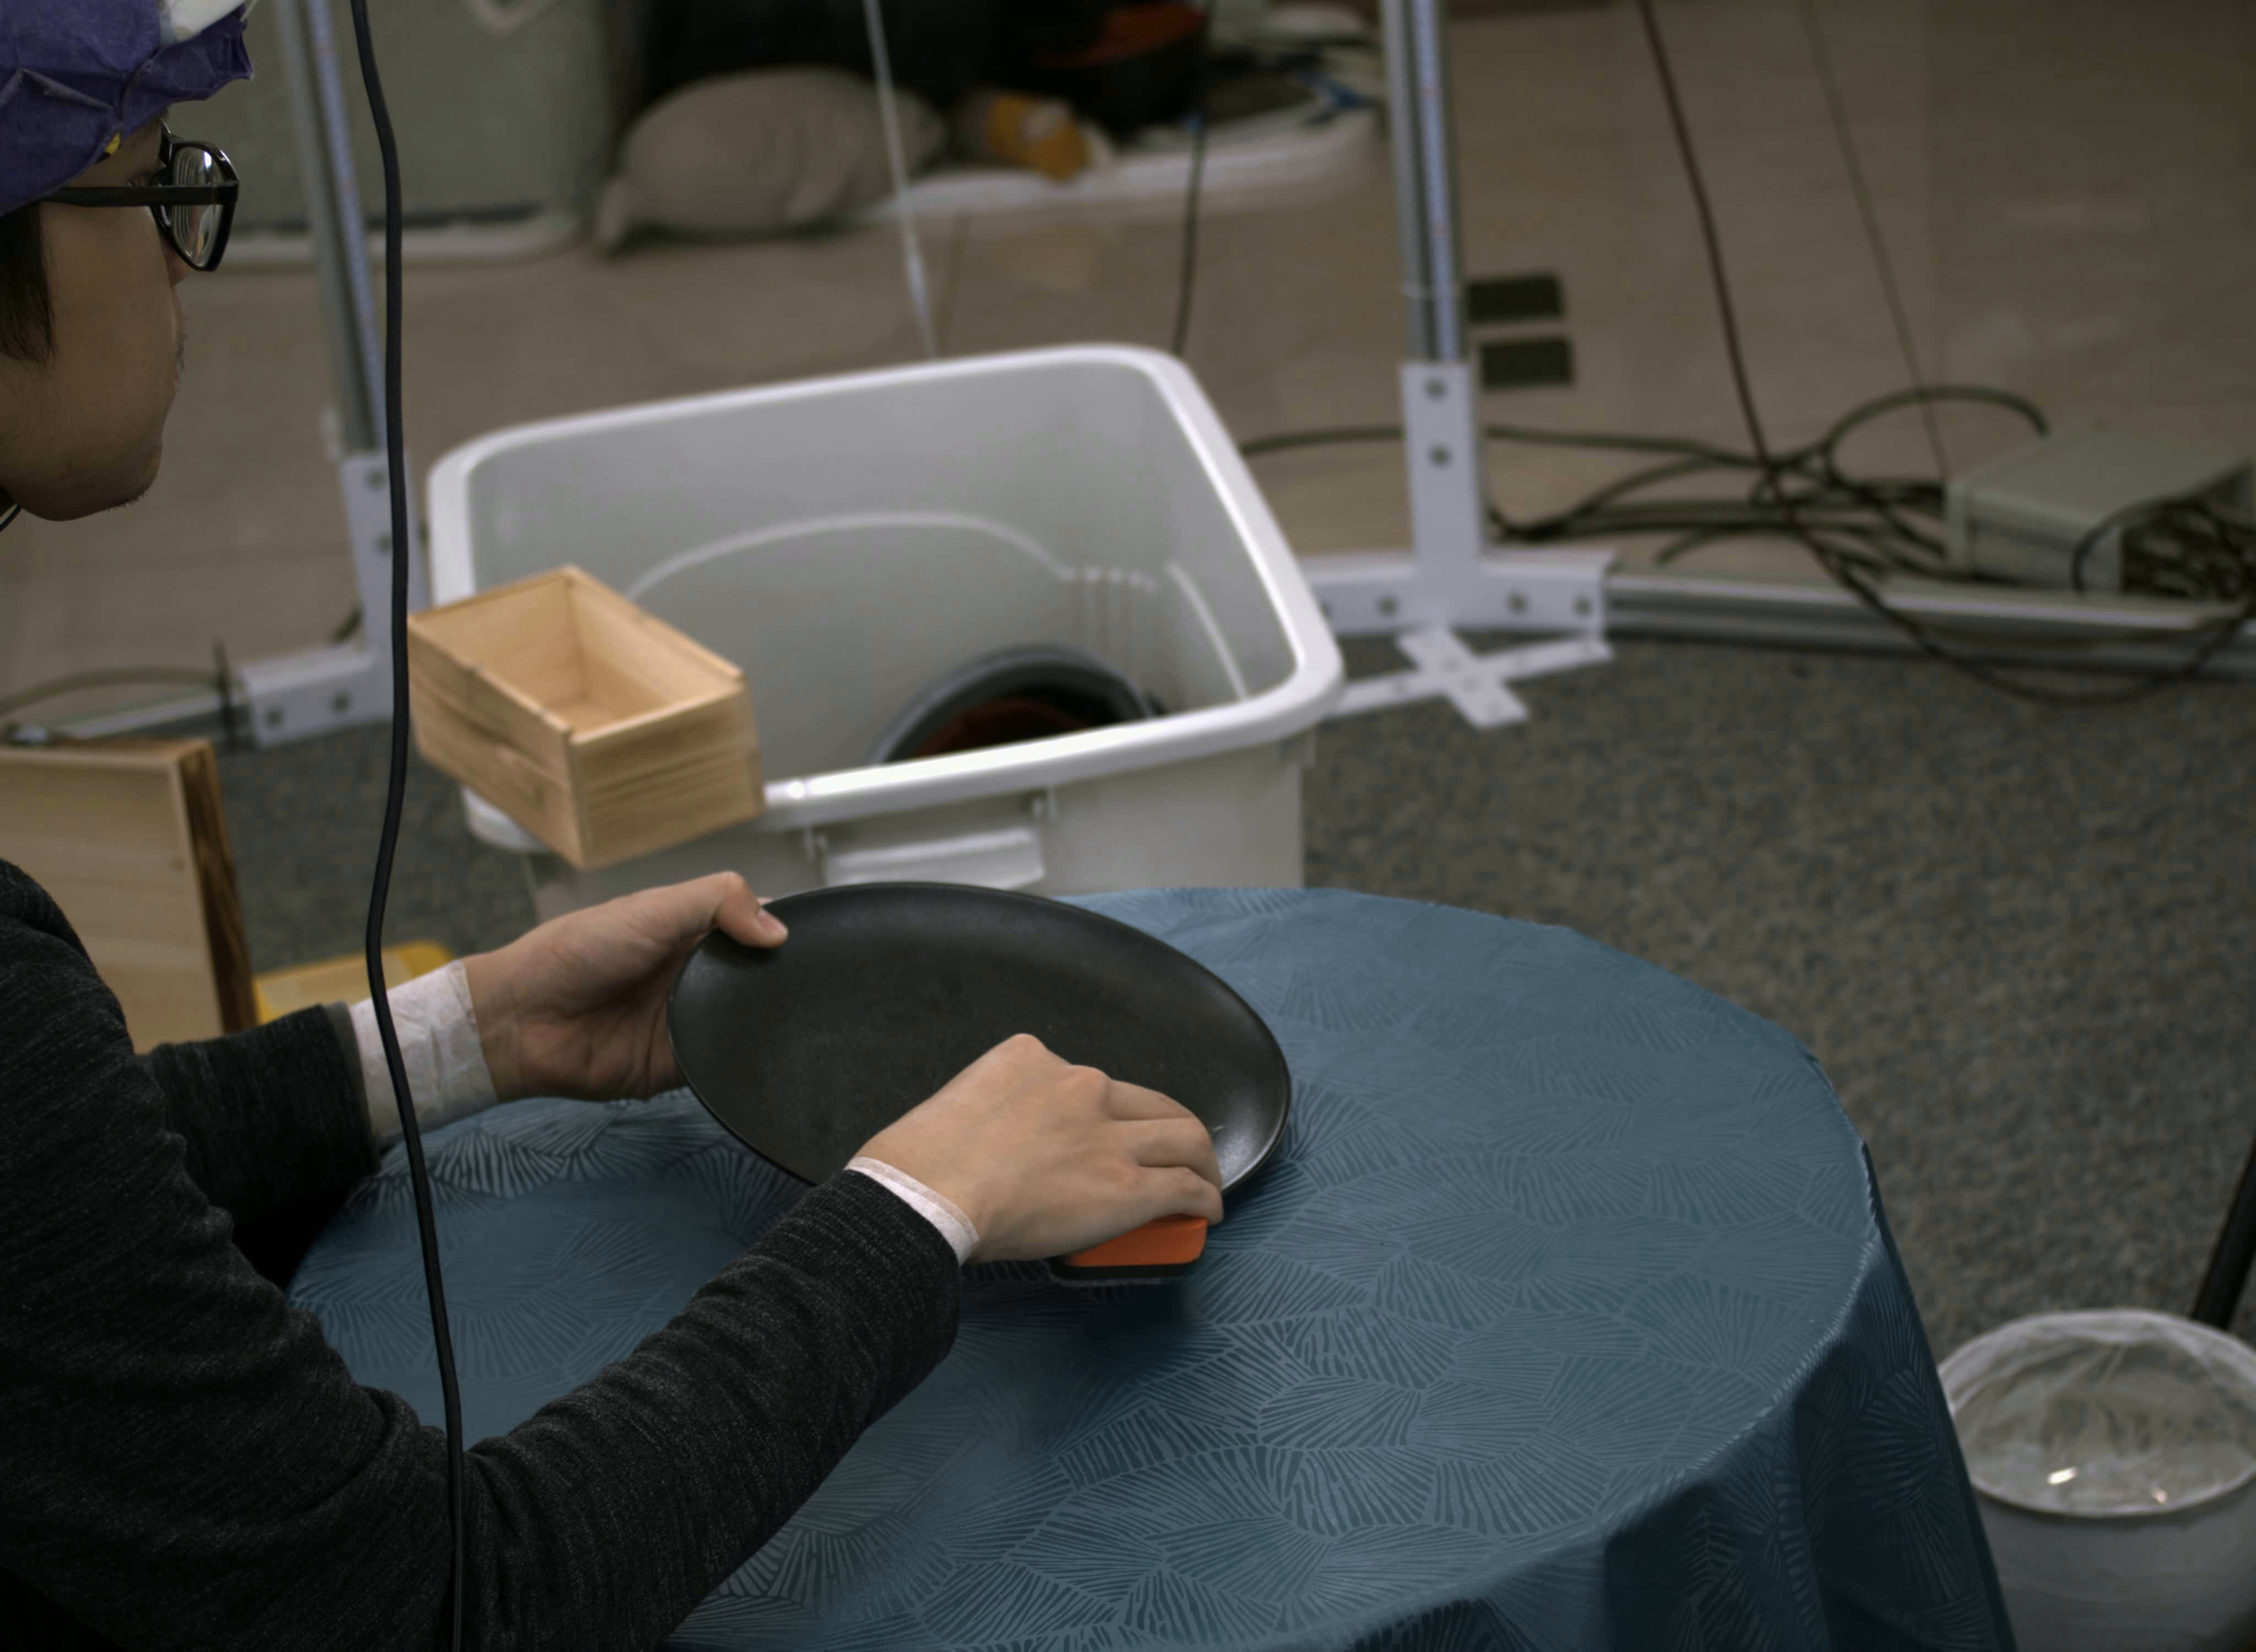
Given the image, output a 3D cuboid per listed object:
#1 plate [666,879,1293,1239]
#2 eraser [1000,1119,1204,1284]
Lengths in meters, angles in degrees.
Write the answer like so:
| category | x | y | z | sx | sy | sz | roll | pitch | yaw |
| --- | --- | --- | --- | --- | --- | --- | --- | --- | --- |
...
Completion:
| category | x | y | z | sx | sy | sz | roll | pitch | yaw |
| --- | --- | --- | --- | --- | --- | --- | --- | --- | --- |
| plate | -0.058 | 0.093 | 2.174 | 0.244 | 0.024 | 0.240 | 8 | 31 | -5 |
| eraser | -0.010 | 0.136 | 2.073 | 0.059 | 0.023 | 0.107 | -1 | 19 | -13 |
